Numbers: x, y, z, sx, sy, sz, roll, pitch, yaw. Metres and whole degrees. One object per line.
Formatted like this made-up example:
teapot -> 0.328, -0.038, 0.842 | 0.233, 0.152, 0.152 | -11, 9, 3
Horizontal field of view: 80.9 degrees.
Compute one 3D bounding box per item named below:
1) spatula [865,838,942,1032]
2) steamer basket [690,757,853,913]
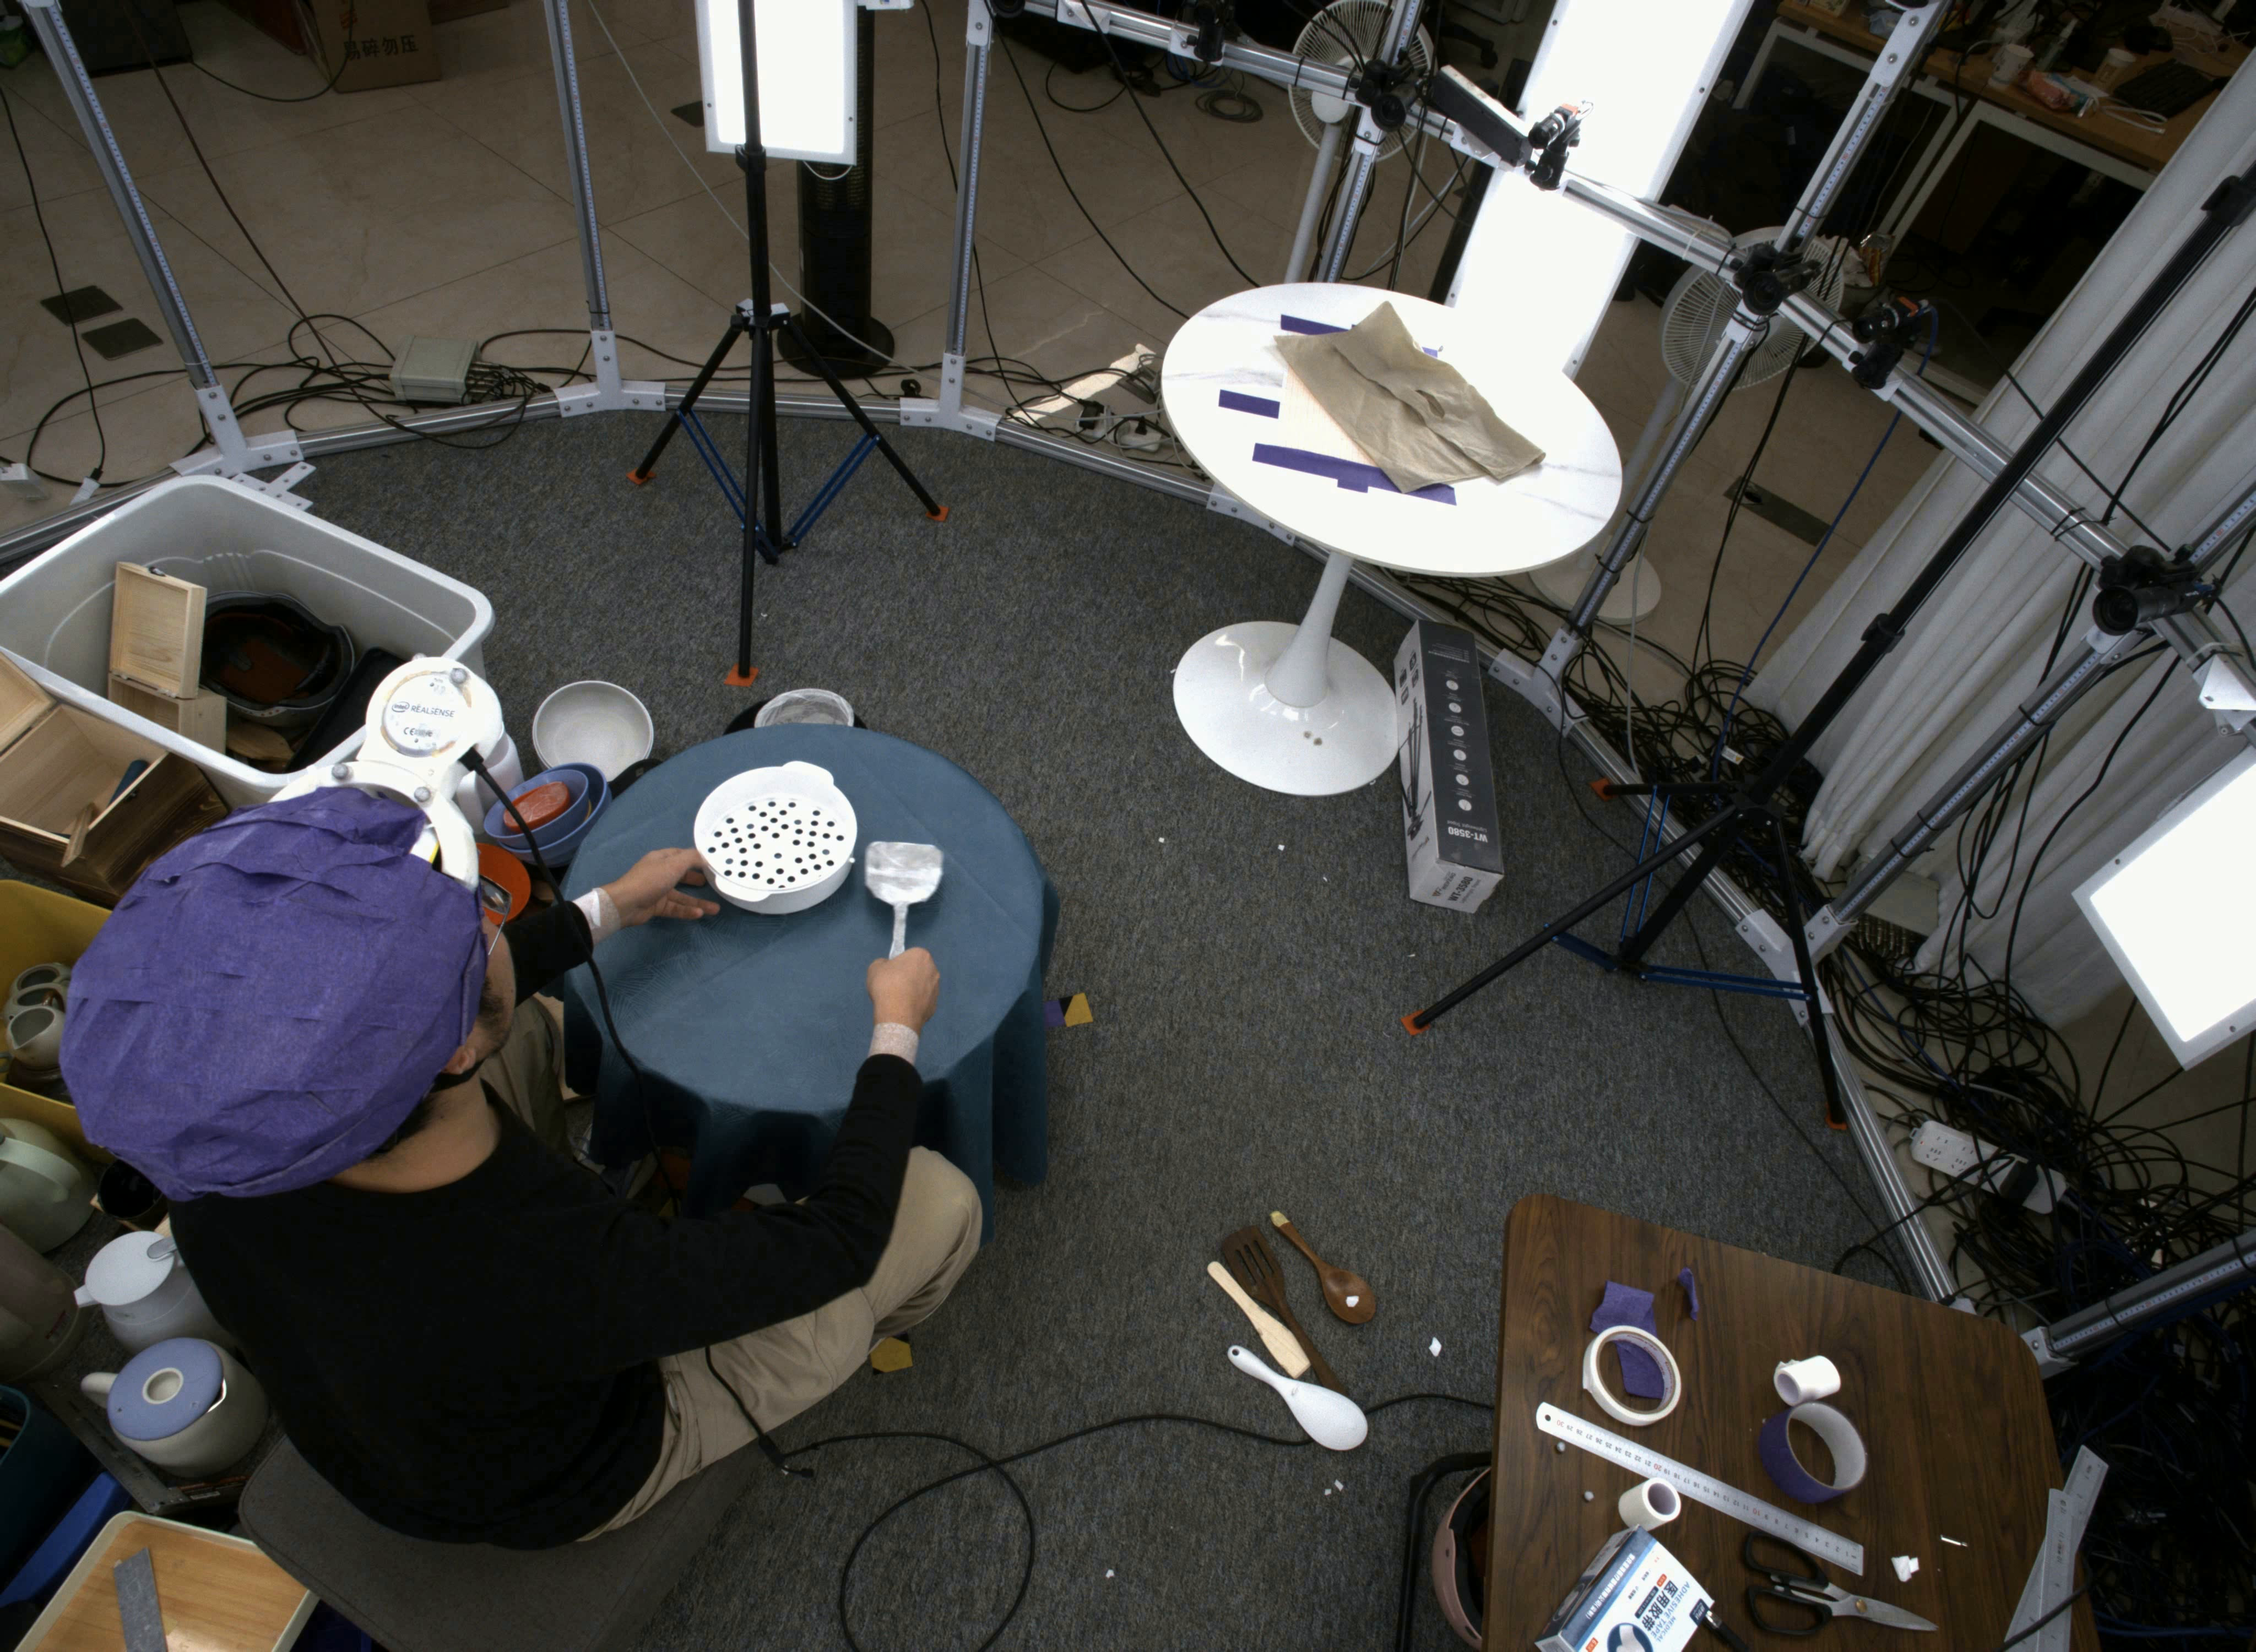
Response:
spatula -> -0.279, 0.119, 1.557 | 0.099, 0.046, 0.356 | 9, 27, -10
steamer basket -> -0.453, 0.015, 1.655 | 0.200, 0.070, 0.228 | 18, 52, 1
